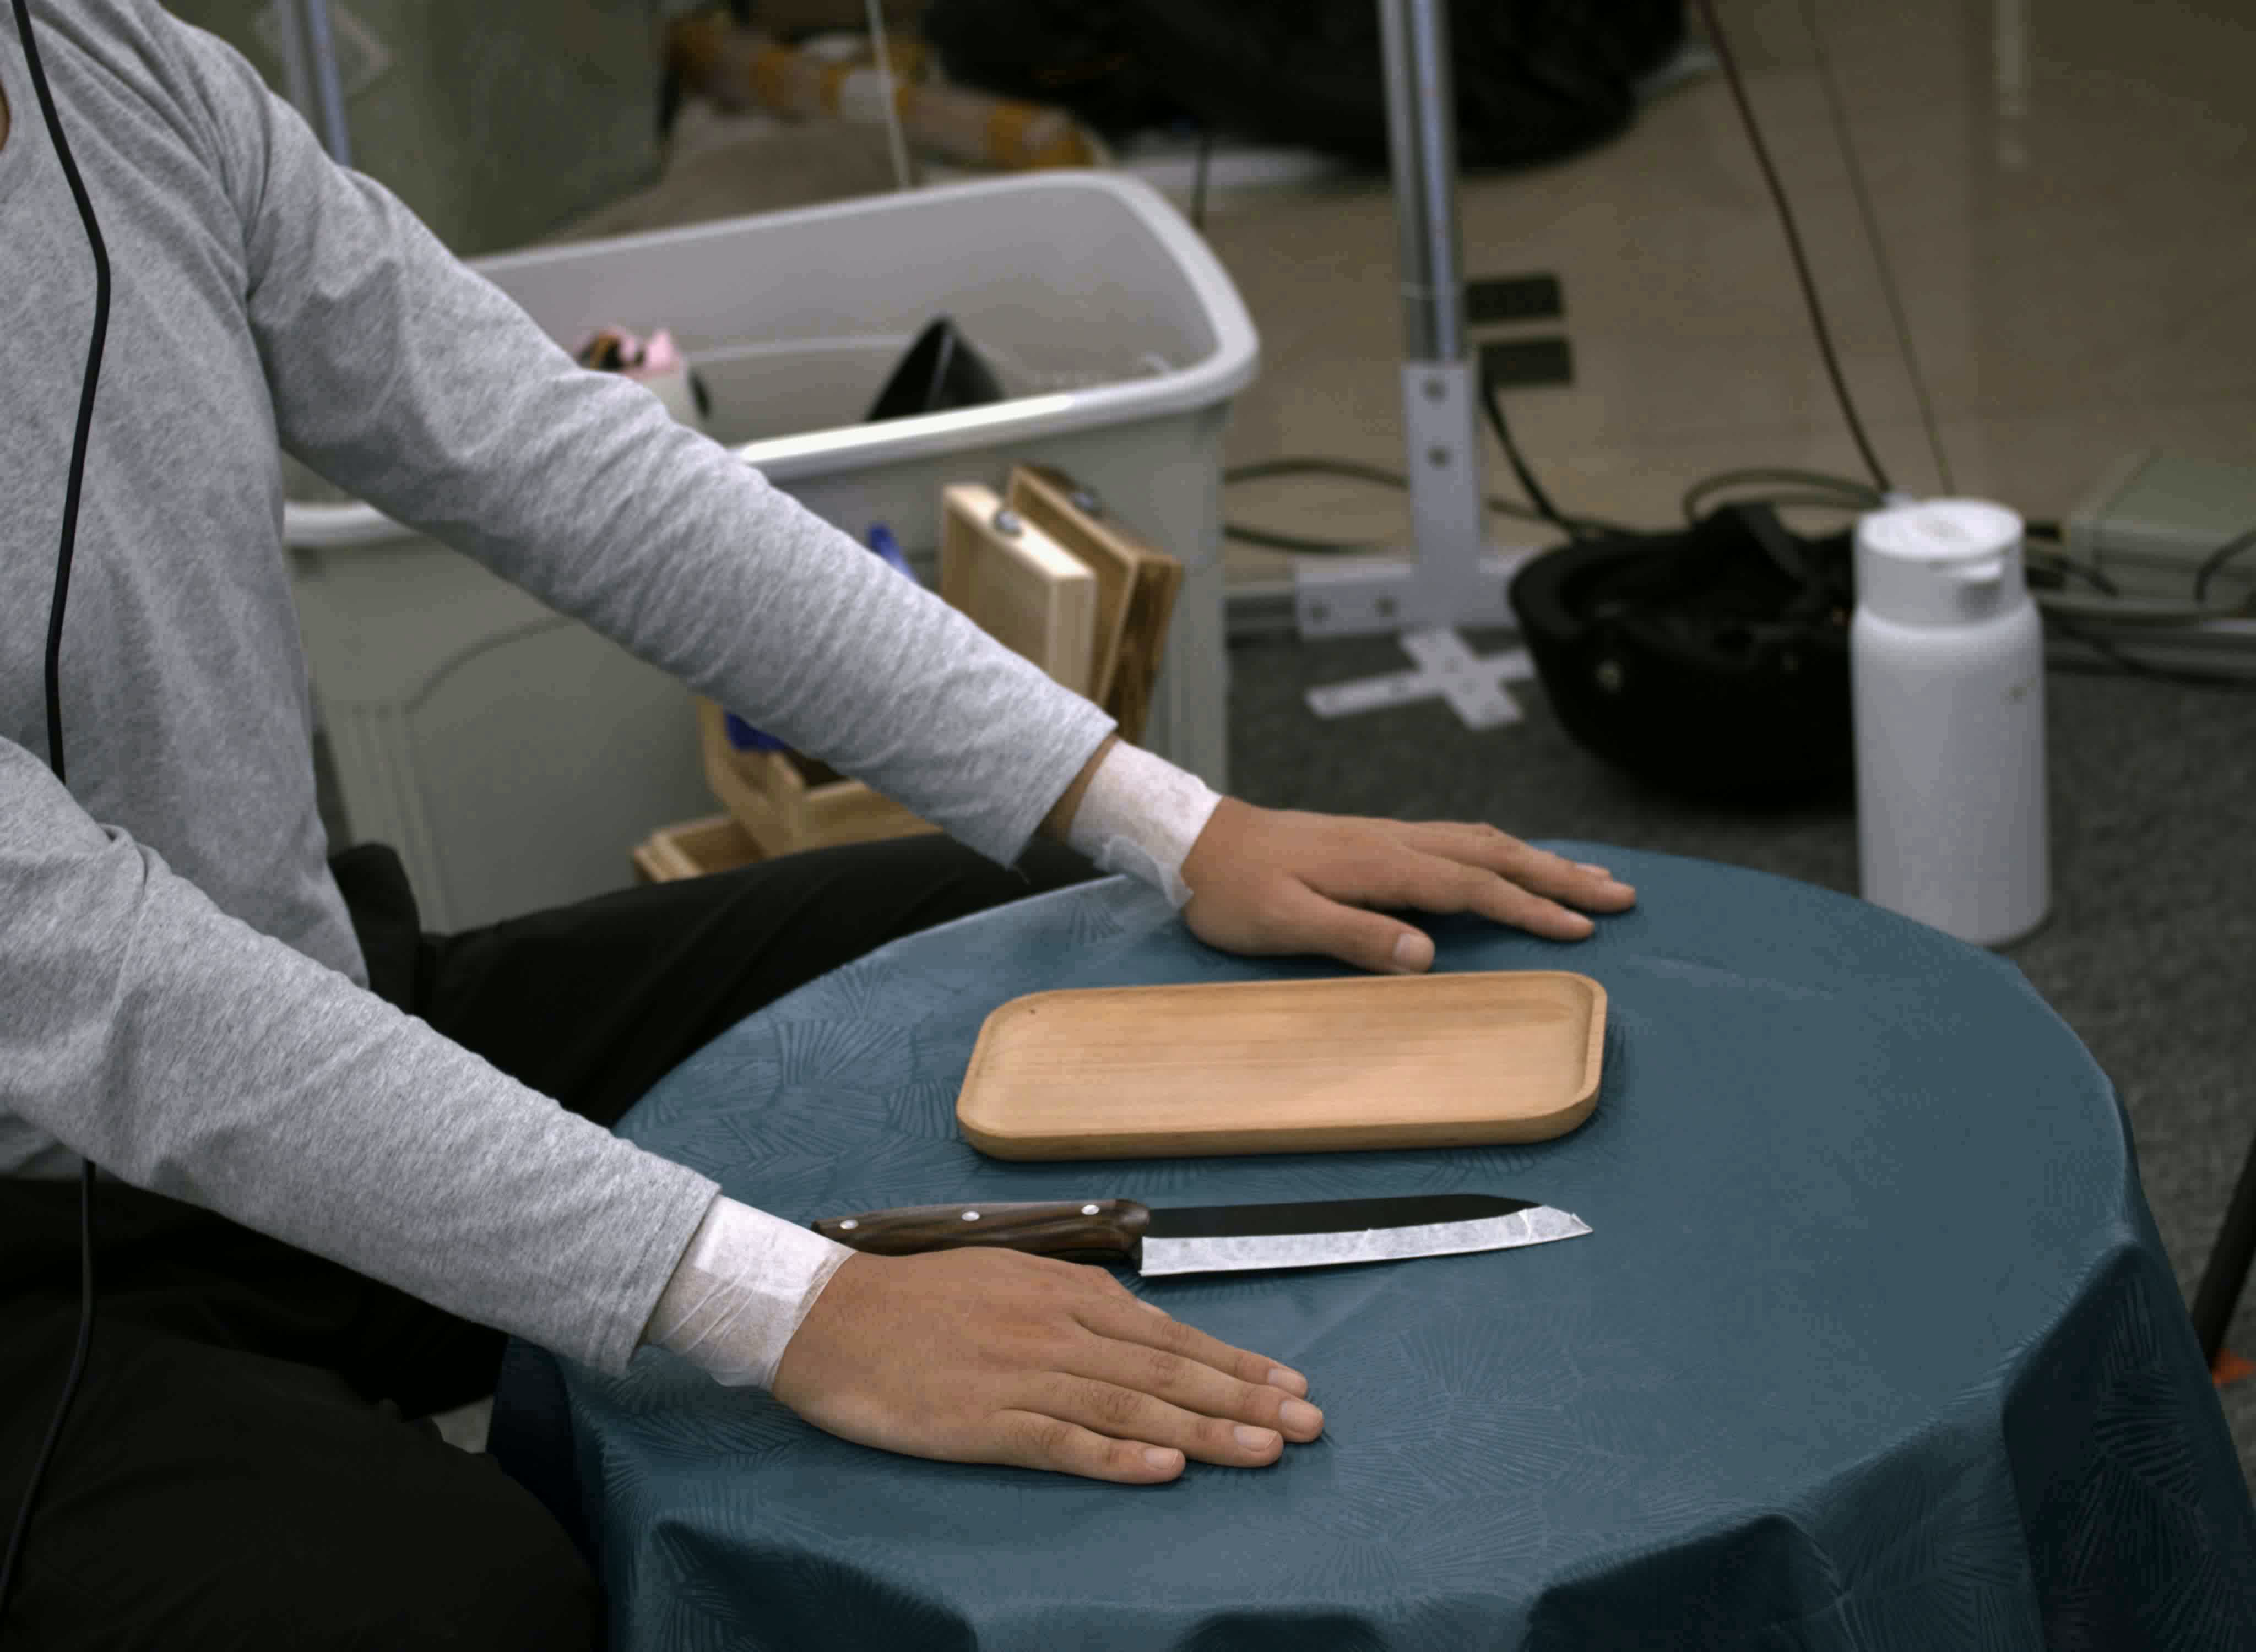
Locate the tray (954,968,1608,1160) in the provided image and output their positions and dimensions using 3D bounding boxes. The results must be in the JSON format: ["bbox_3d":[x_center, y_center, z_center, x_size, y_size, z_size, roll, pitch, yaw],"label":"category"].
[{"bbox_3d":[0.061,0.094,2.216,0.250,0.023,0.129,-3,23,10],"label":"tray"}]

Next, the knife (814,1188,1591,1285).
[{"bbox_3d":[0.027,0.152,2.100,0.288,0.020,0.049,-2,31,4],"label":"knife"}]
